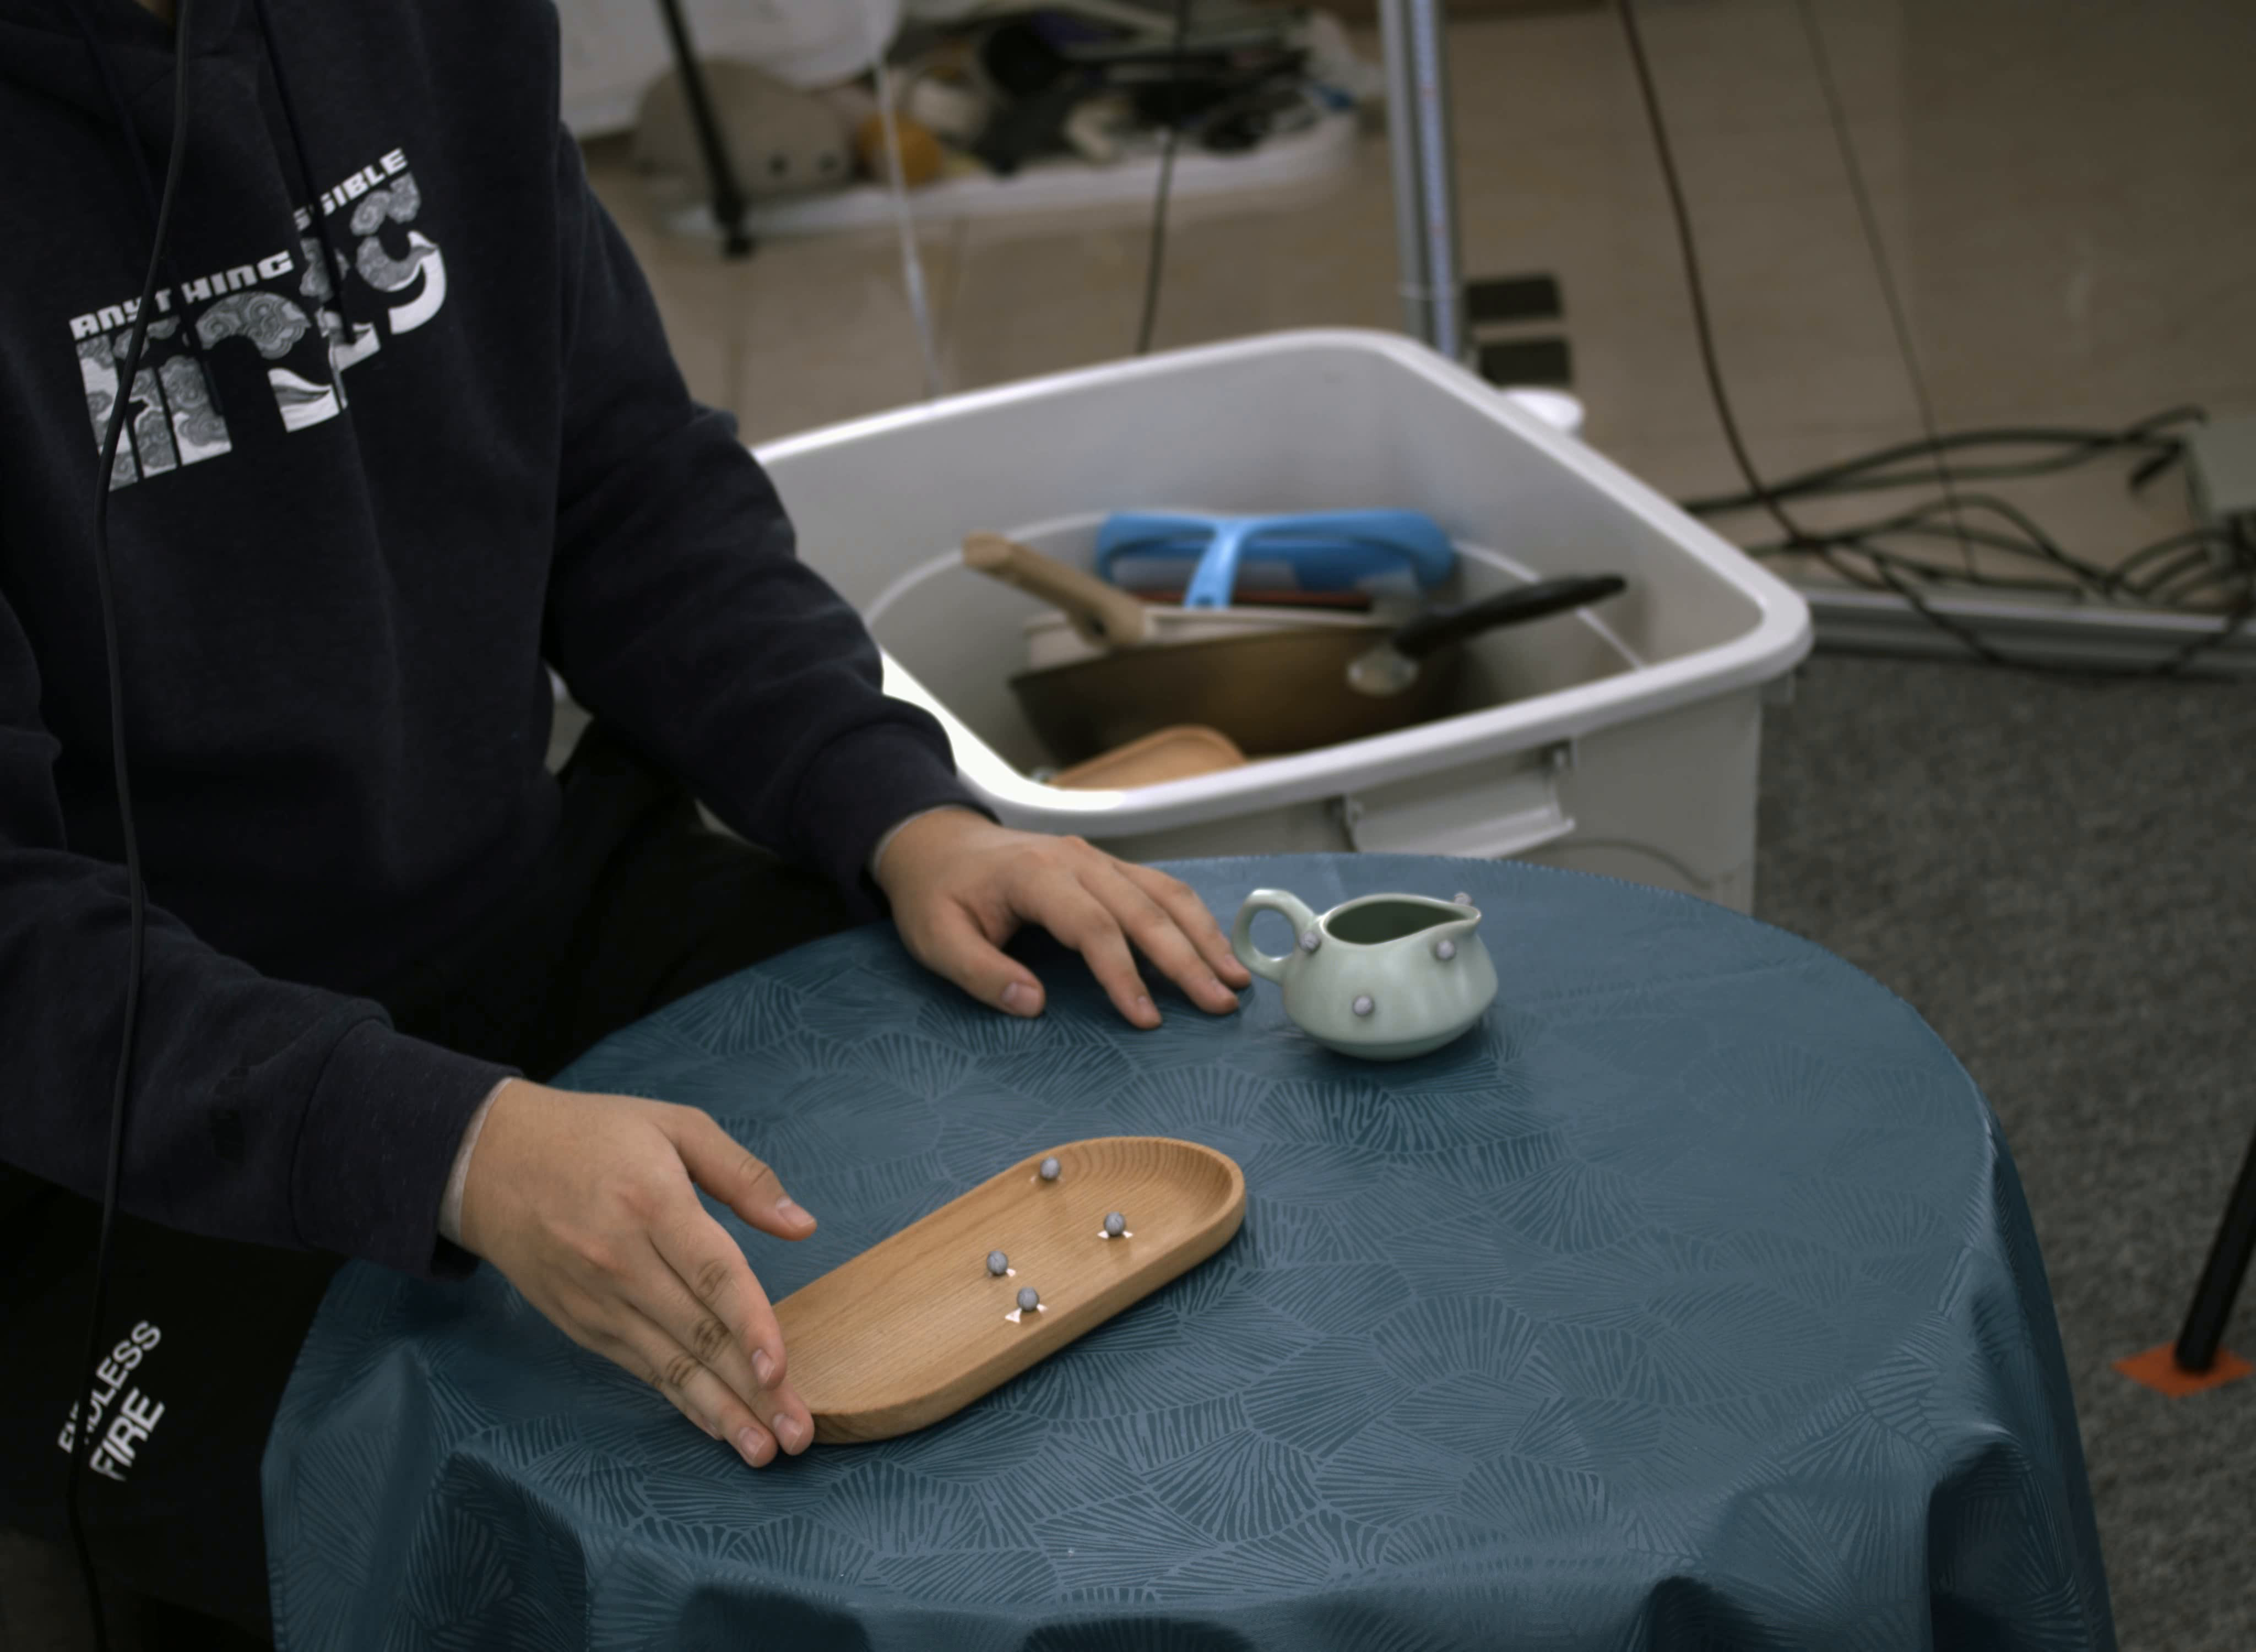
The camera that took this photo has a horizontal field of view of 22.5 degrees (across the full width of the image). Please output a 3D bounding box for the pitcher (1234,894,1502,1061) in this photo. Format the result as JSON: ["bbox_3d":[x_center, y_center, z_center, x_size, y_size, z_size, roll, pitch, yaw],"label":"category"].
[{"bbox_3d":[0.093,0.057,2.238,0.108,0.061,0.085,2,25,22],"label":"pitcher"}]

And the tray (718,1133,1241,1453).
[{"bbox_3d":[-0.052,0.169,2.075,0.101,0.020,0.229,17,35,40],"label":"tray"}]
